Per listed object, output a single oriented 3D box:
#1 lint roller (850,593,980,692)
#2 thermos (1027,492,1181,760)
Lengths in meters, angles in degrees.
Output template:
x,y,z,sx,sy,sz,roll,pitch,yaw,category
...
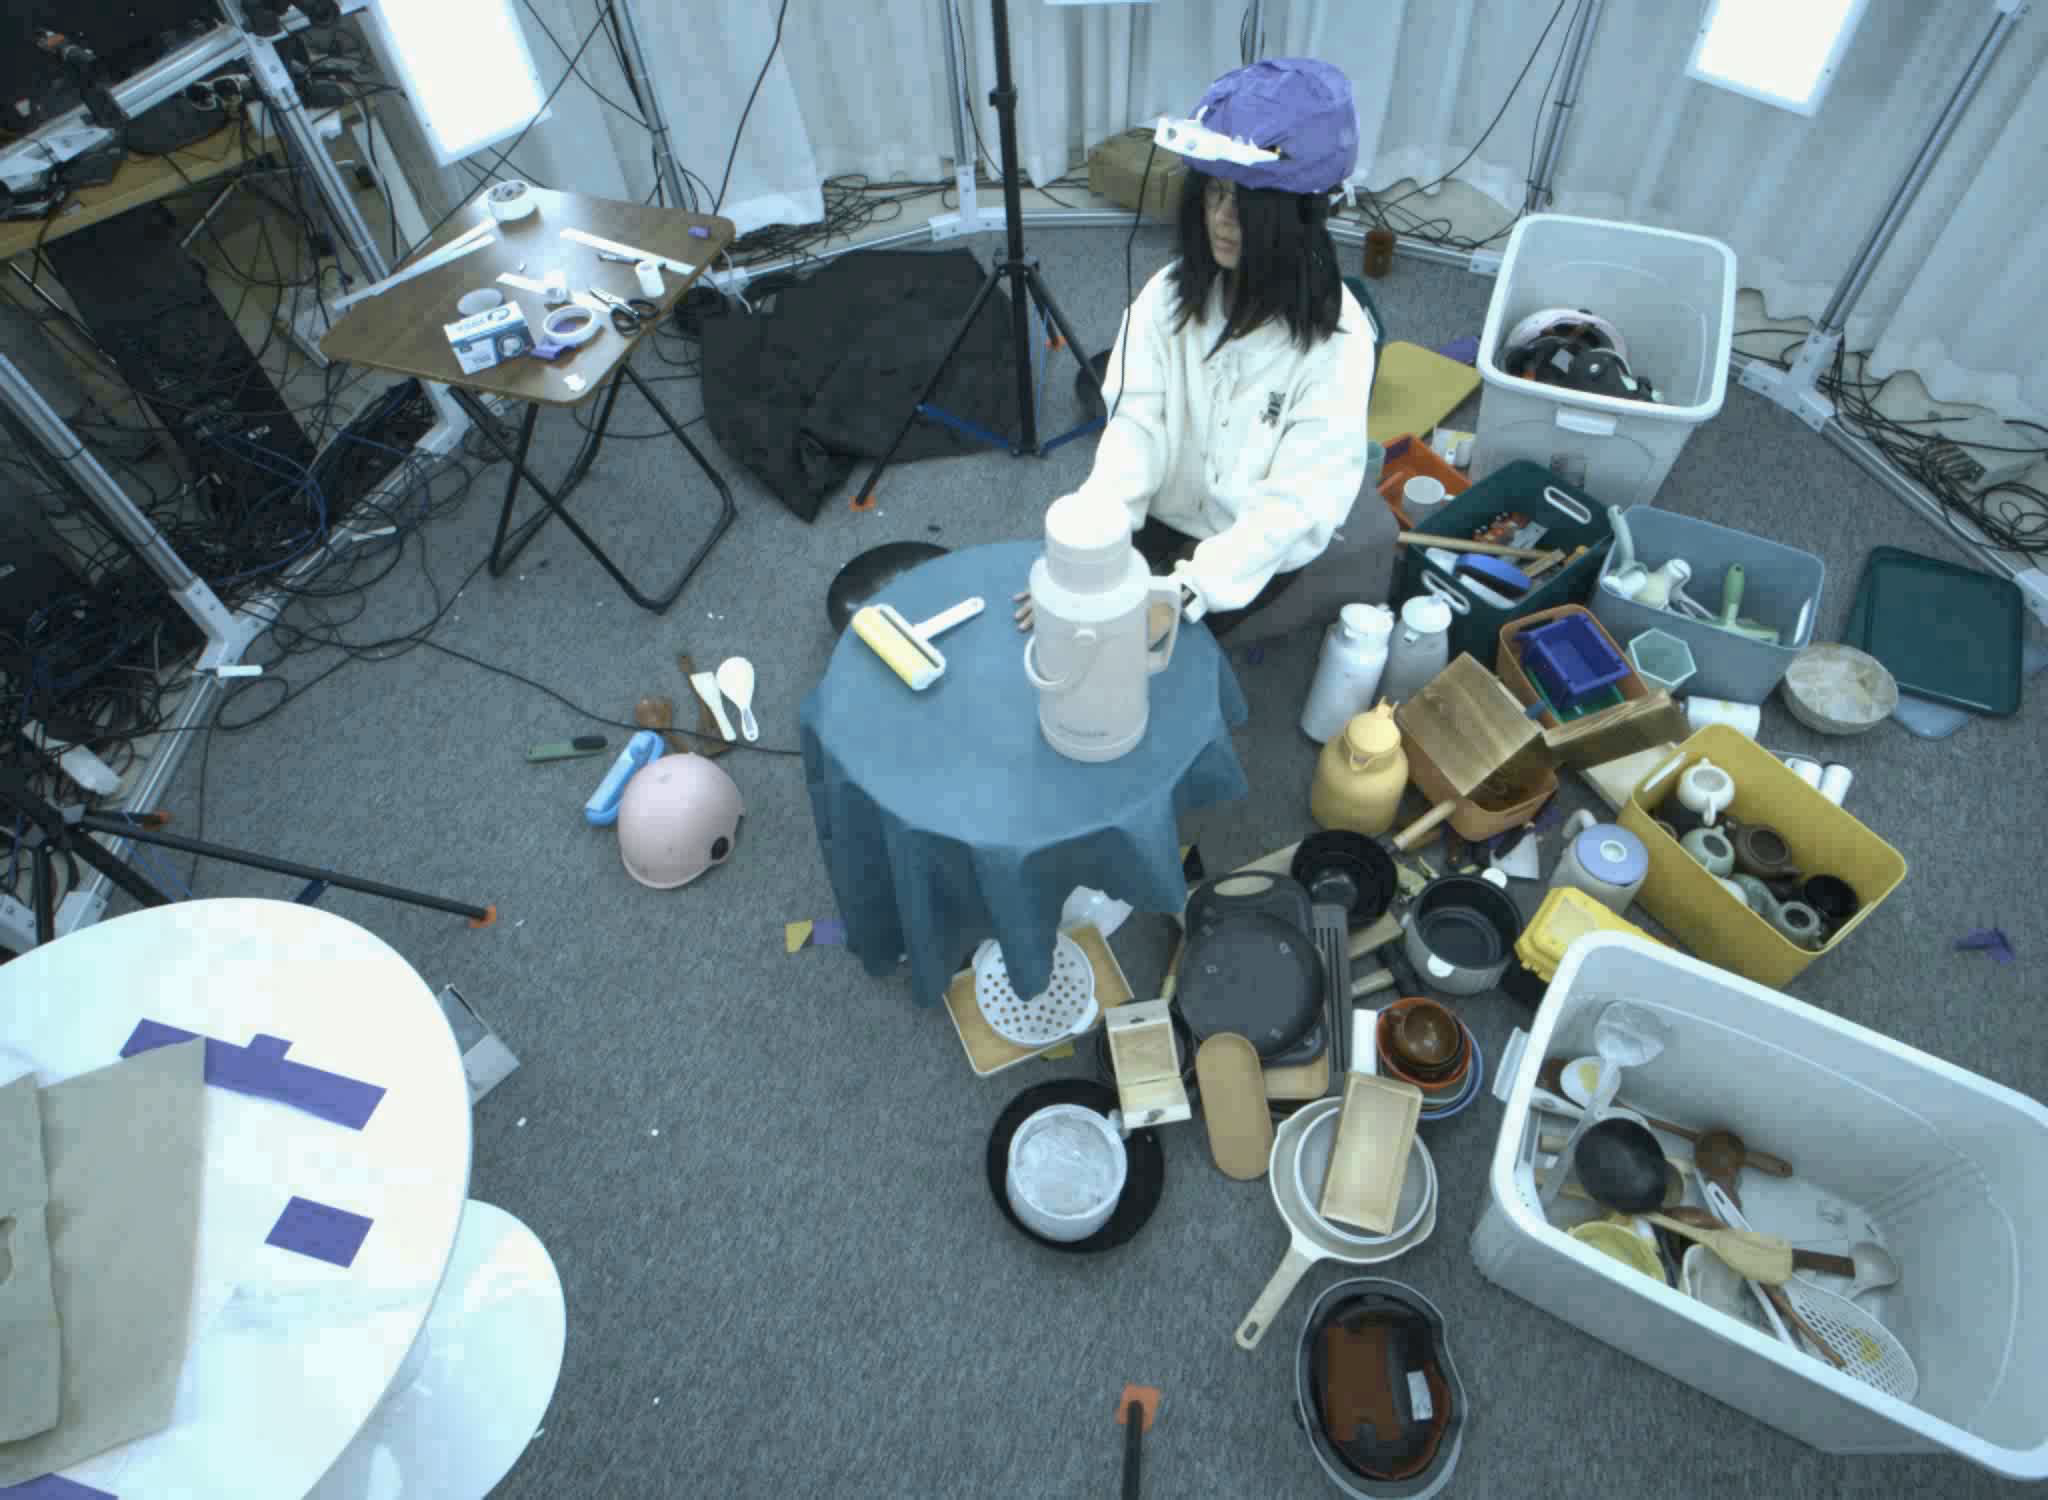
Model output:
x,y,z,sx,sy,sz,roll,pitch,yaw,category
-0.148,-0.197,1.898,0.193,0.052,0.171,-39,62,-16,lint roller
0.103,-0.161,1.654,0.206,0.411,0.174,2,54,5,thermos
